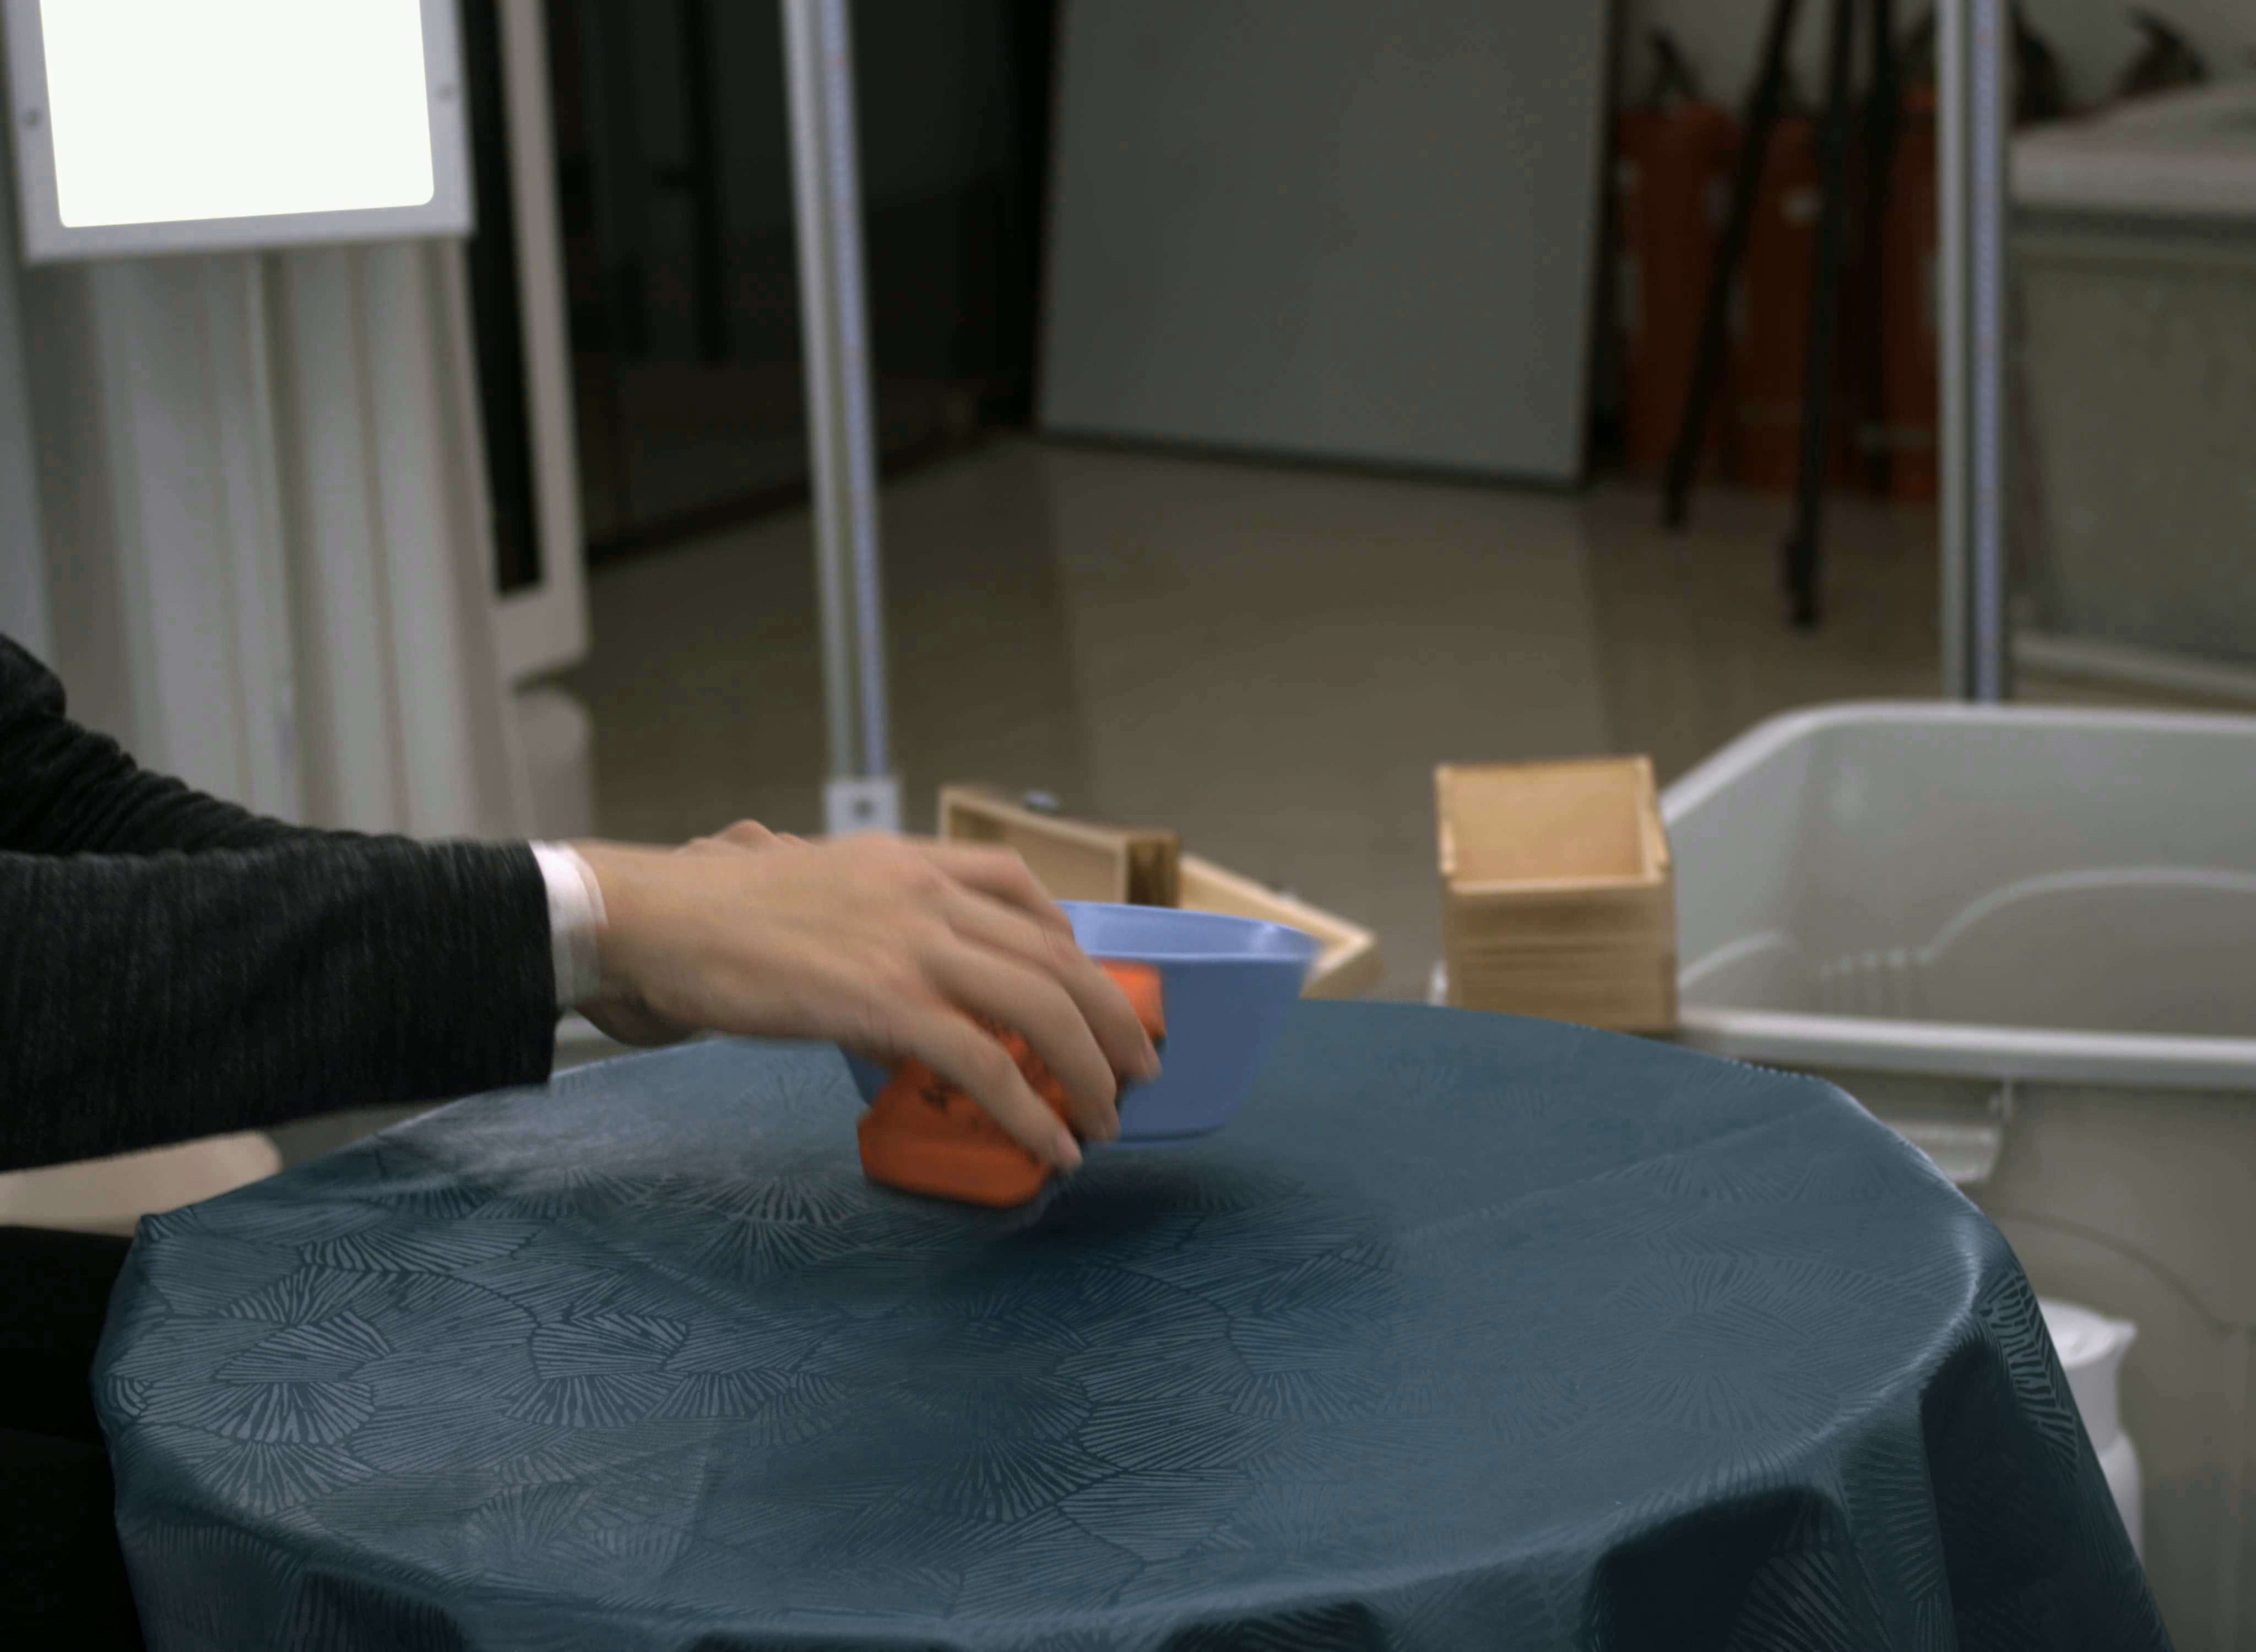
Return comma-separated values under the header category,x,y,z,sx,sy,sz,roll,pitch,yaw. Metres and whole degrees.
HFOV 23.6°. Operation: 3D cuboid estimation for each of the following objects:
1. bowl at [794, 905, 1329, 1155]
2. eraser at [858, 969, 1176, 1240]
category,x,y,z,sx,sy,sz,roll,pitch,yaw
bowl,-0.023,0.066,1.751,0.173,0.071,0.176,3,4,-1
eraser,-0.031,0.080,1.576,0.059,0.023,0.107,8,33,25
